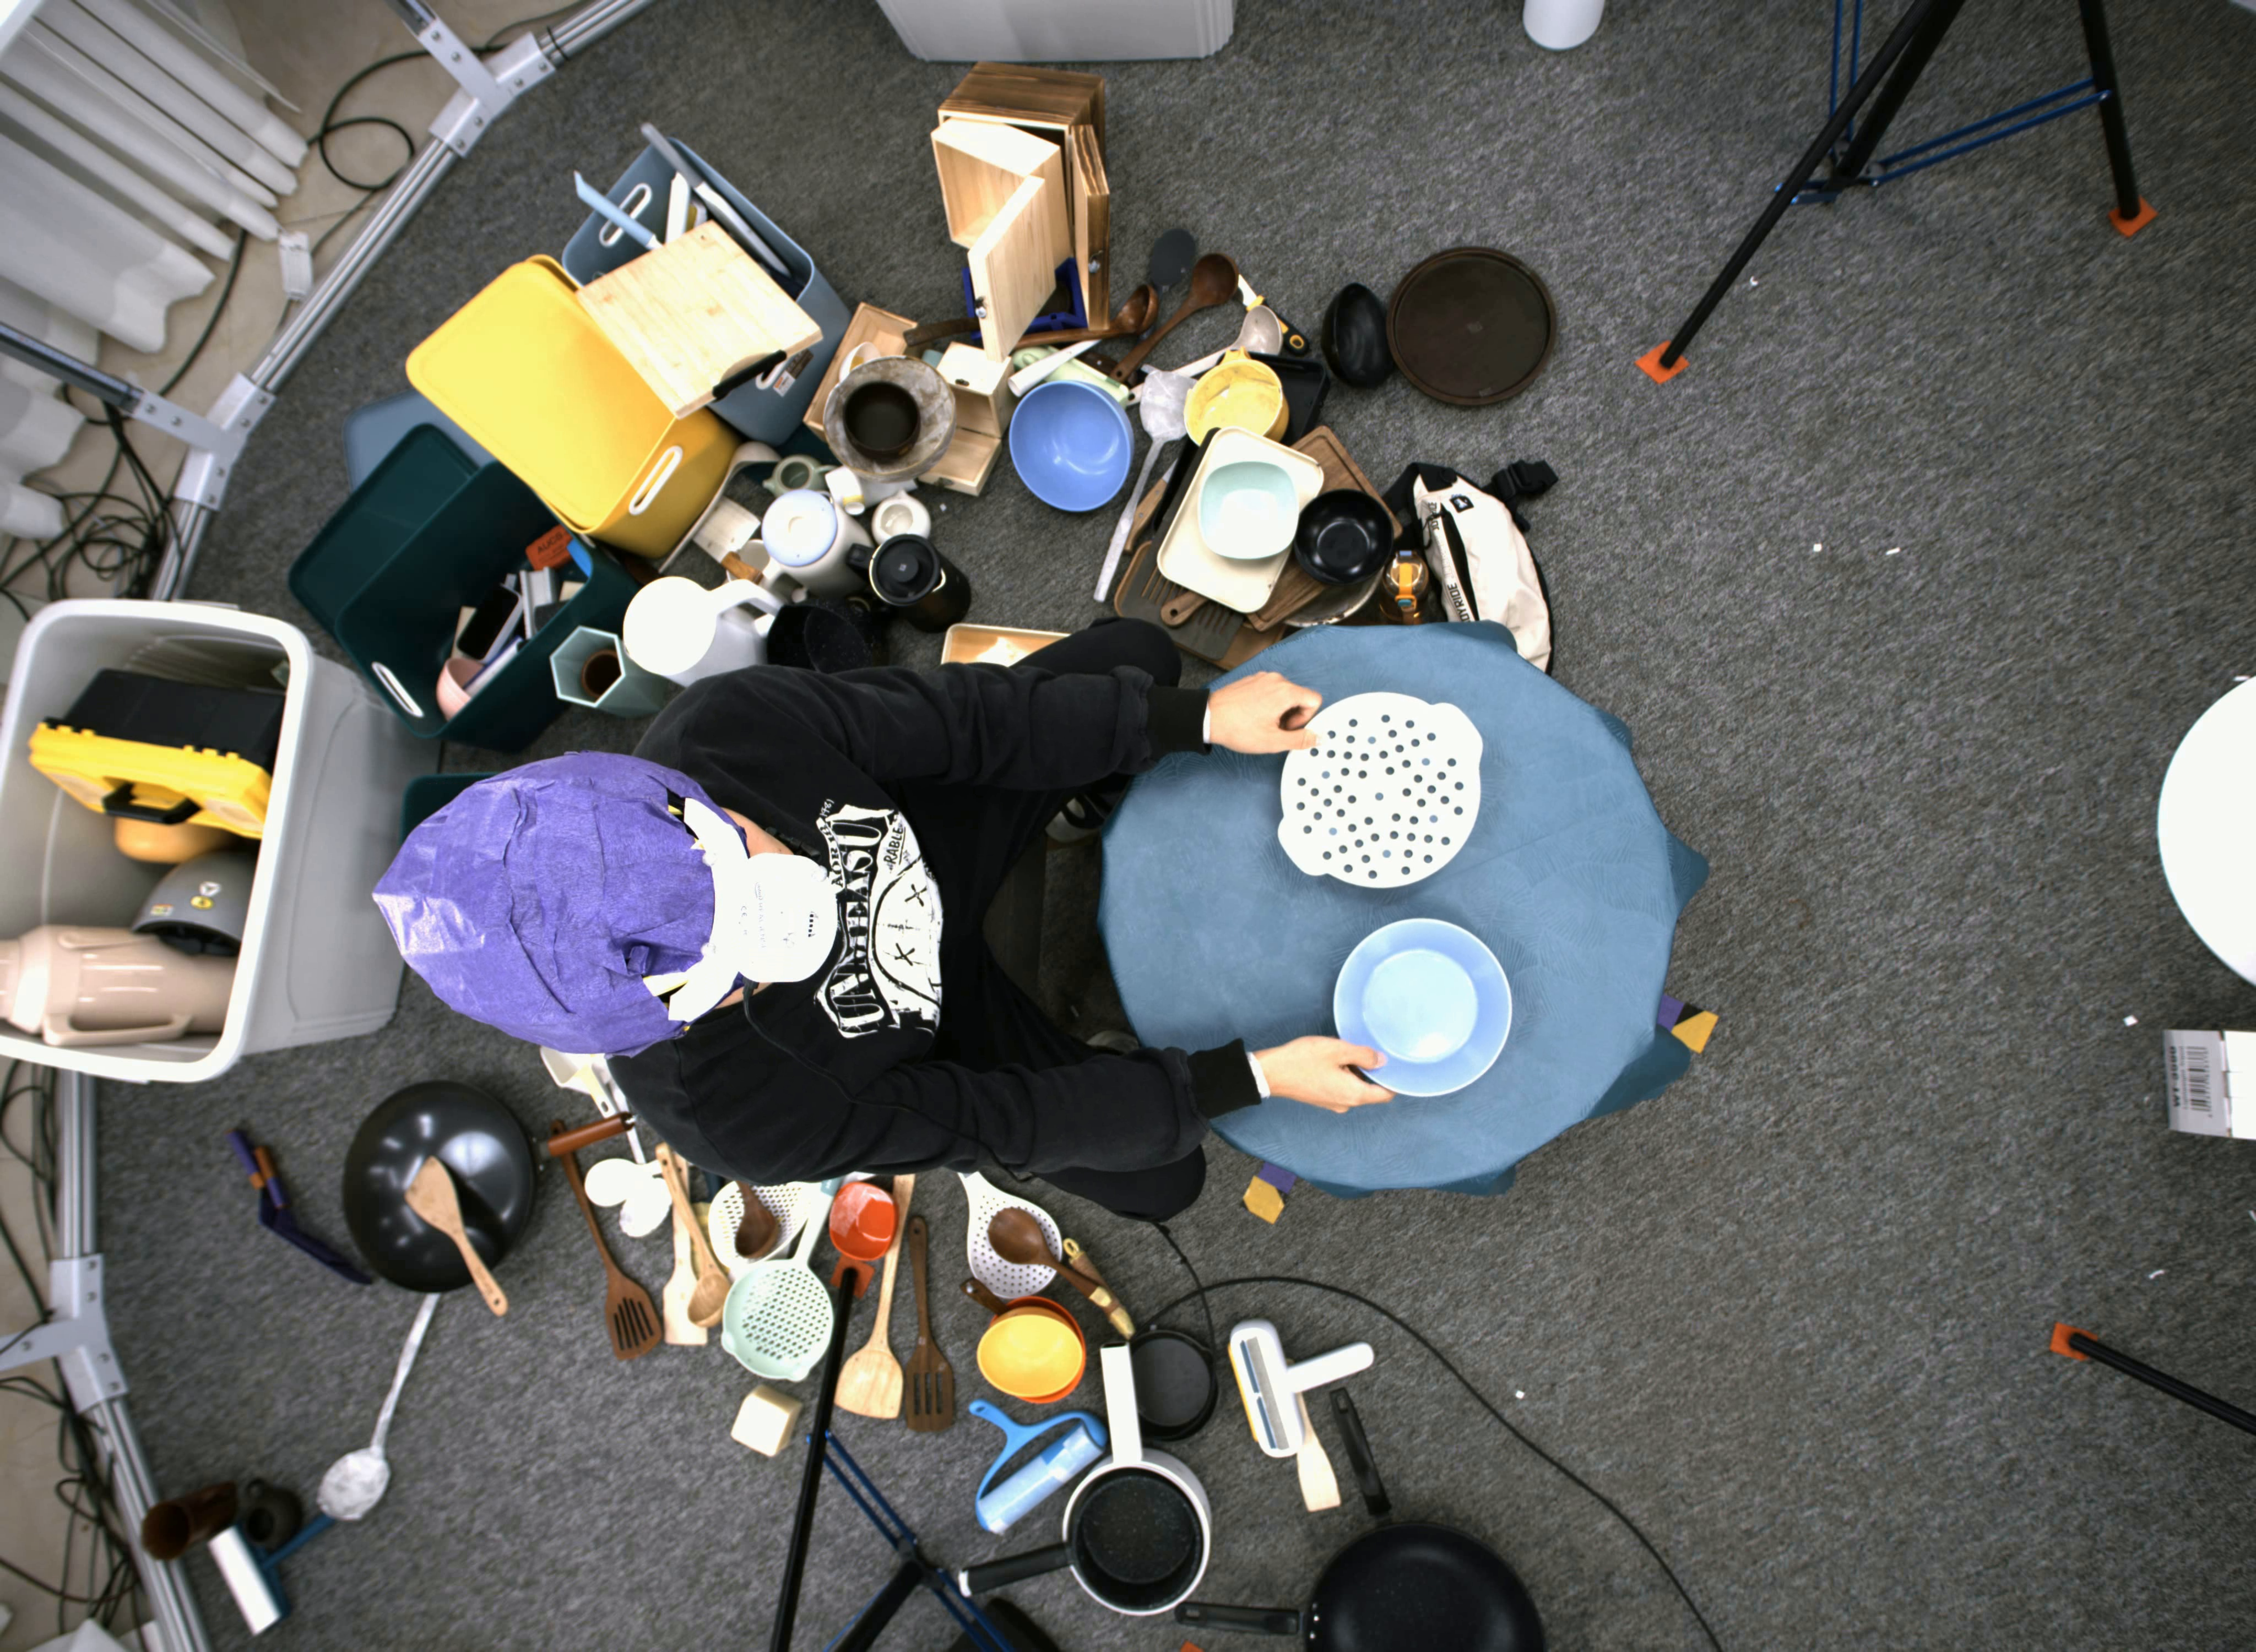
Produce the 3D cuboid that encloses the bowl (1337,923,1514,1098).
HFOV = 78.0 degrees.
[{"bbox_3d":[0.303,0.187,1.415,0.177,0.070,0.175,-1,84,11],"label":"bowl"}]

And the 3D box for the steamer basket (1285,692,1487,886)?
[{"bbox_3d":[0.268,-0.037,1.438,0.231,0.069,0.201,-37,80,3],"label":"steamer basket"}]
